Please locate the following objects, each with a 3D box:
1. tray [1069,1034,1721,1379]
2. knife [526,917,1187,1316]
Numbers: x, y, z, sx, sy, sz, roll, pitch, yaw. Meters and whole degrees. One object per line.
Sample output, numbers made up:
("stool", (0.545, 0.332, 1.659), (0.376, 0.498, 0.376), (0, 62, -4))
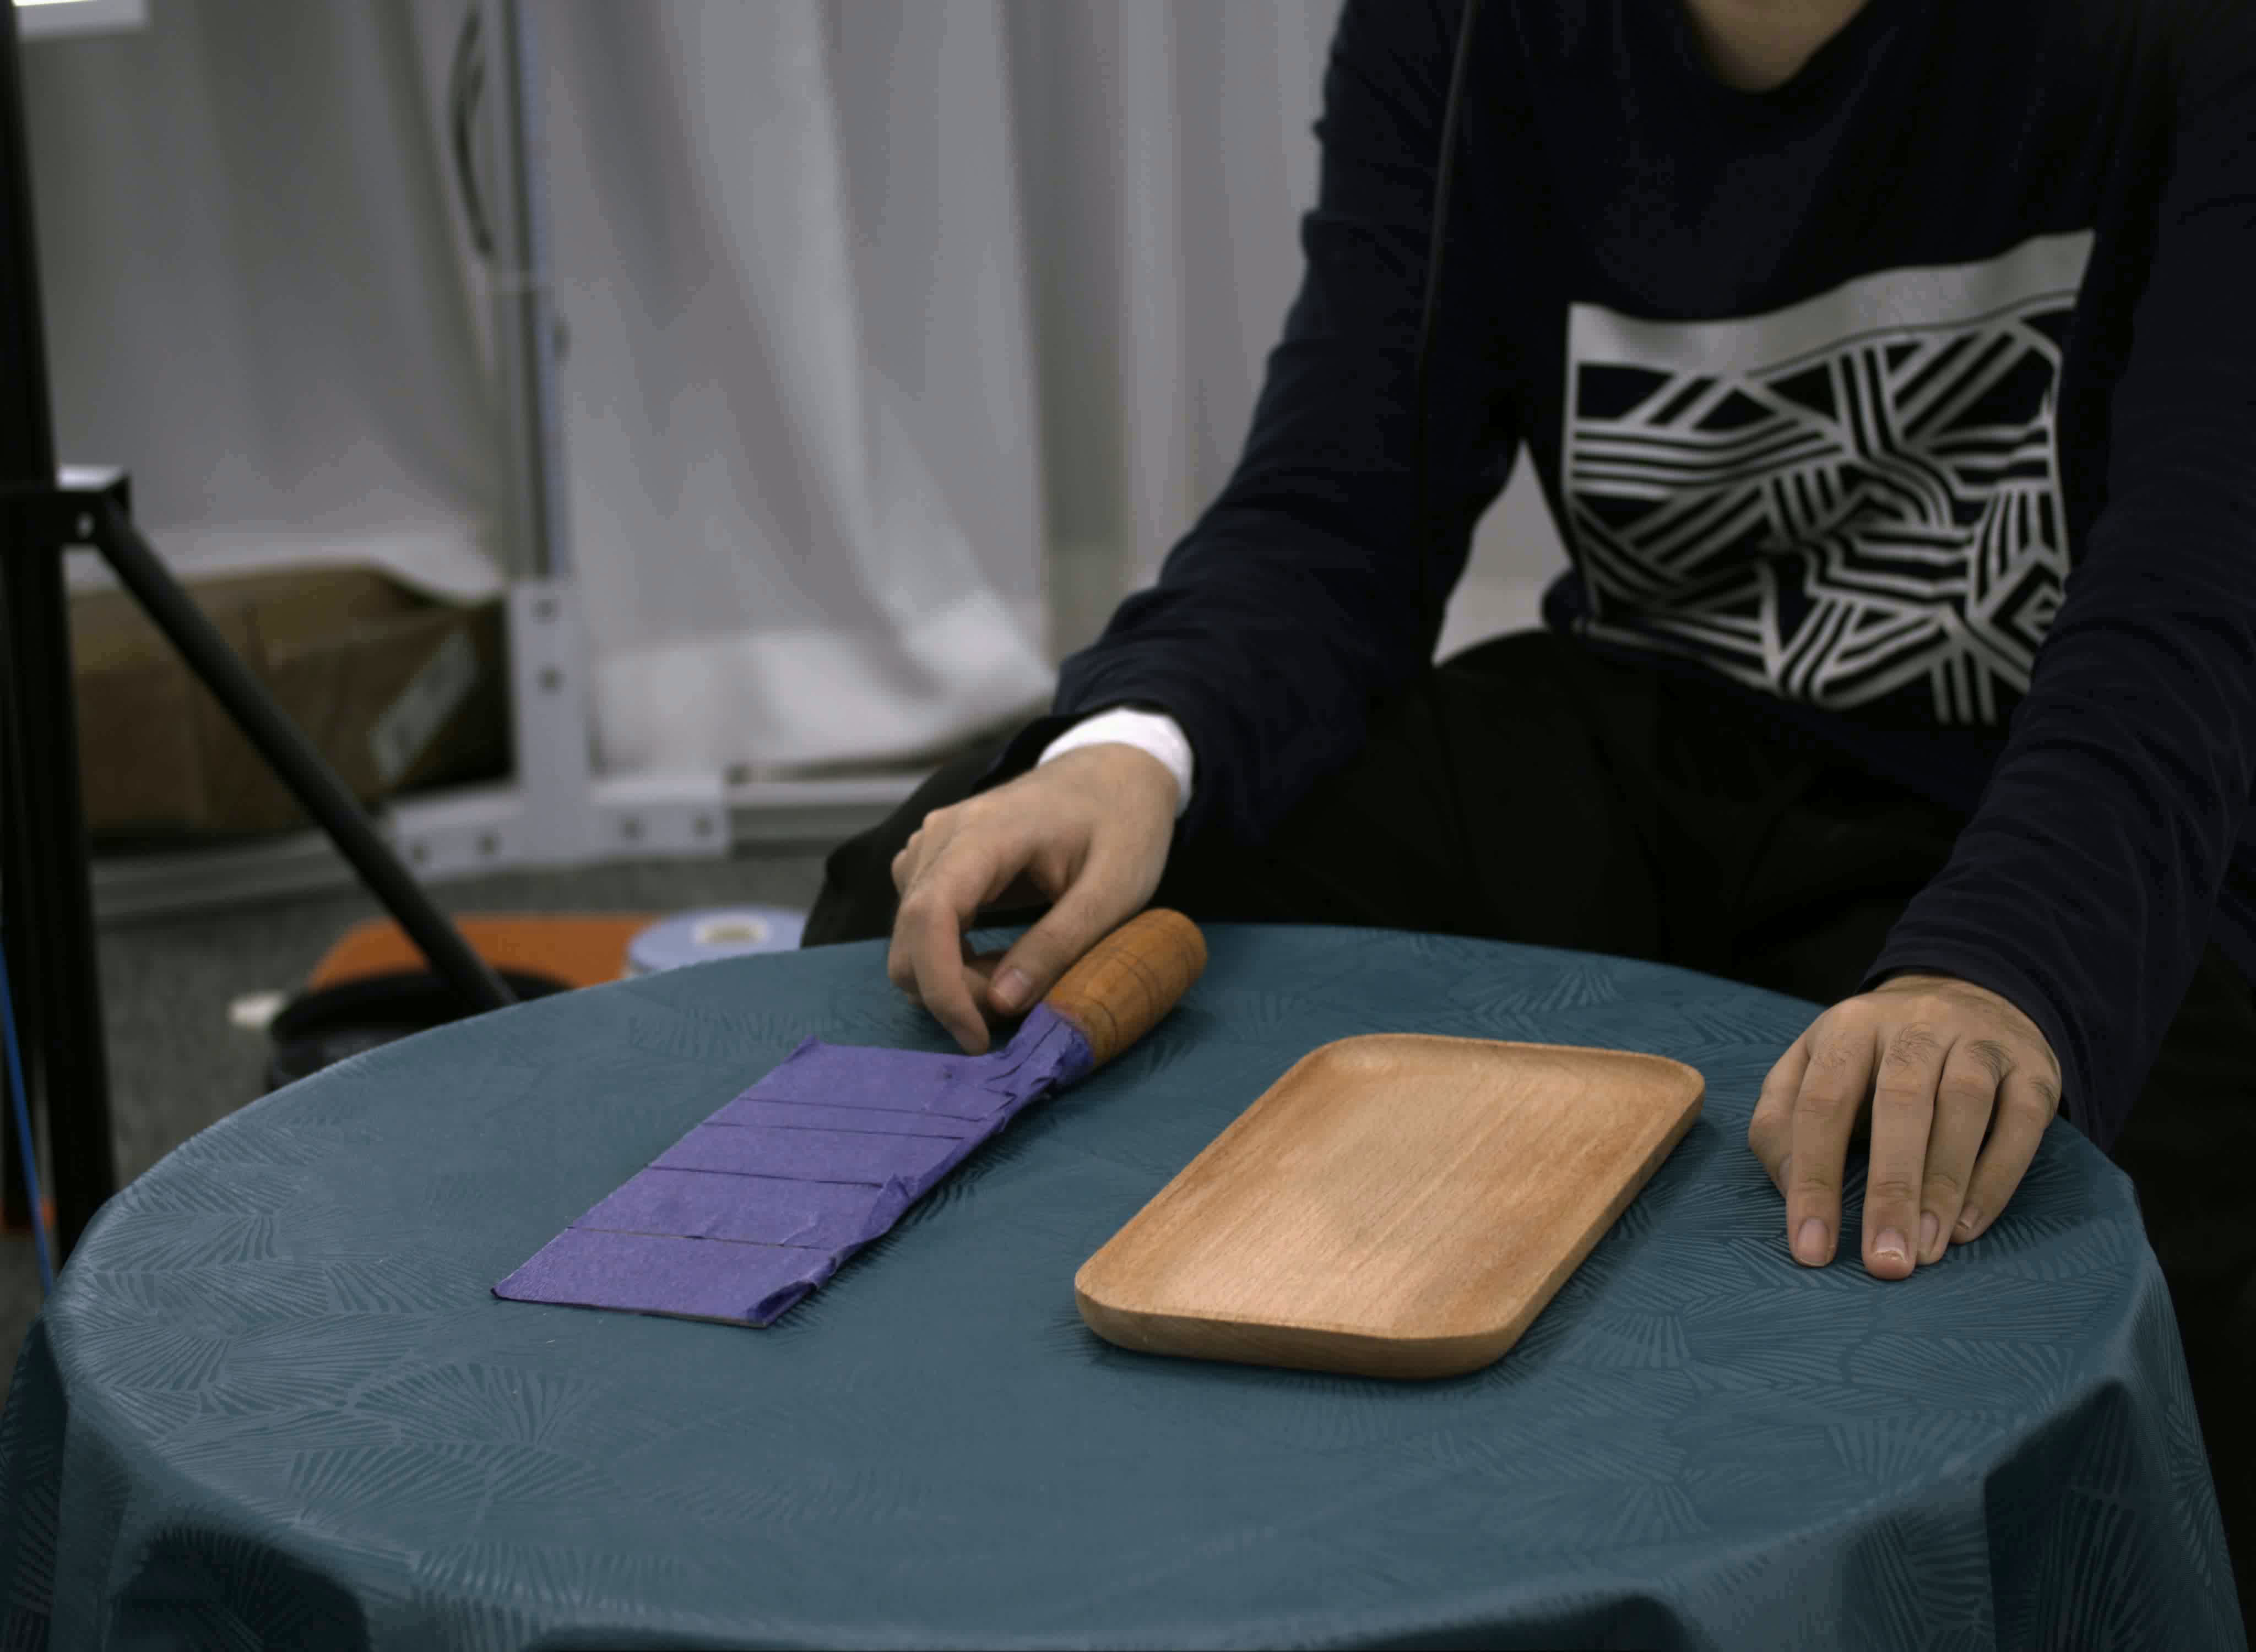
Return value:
("tray", (0.081, 0.107, 1.525), (0.132, 0.023, 0.247), (7, 17, 23))
("knife", (-0.079, 0.083, 1.612), (0.105, 0.032, 0.311), (4, 17, 23))
